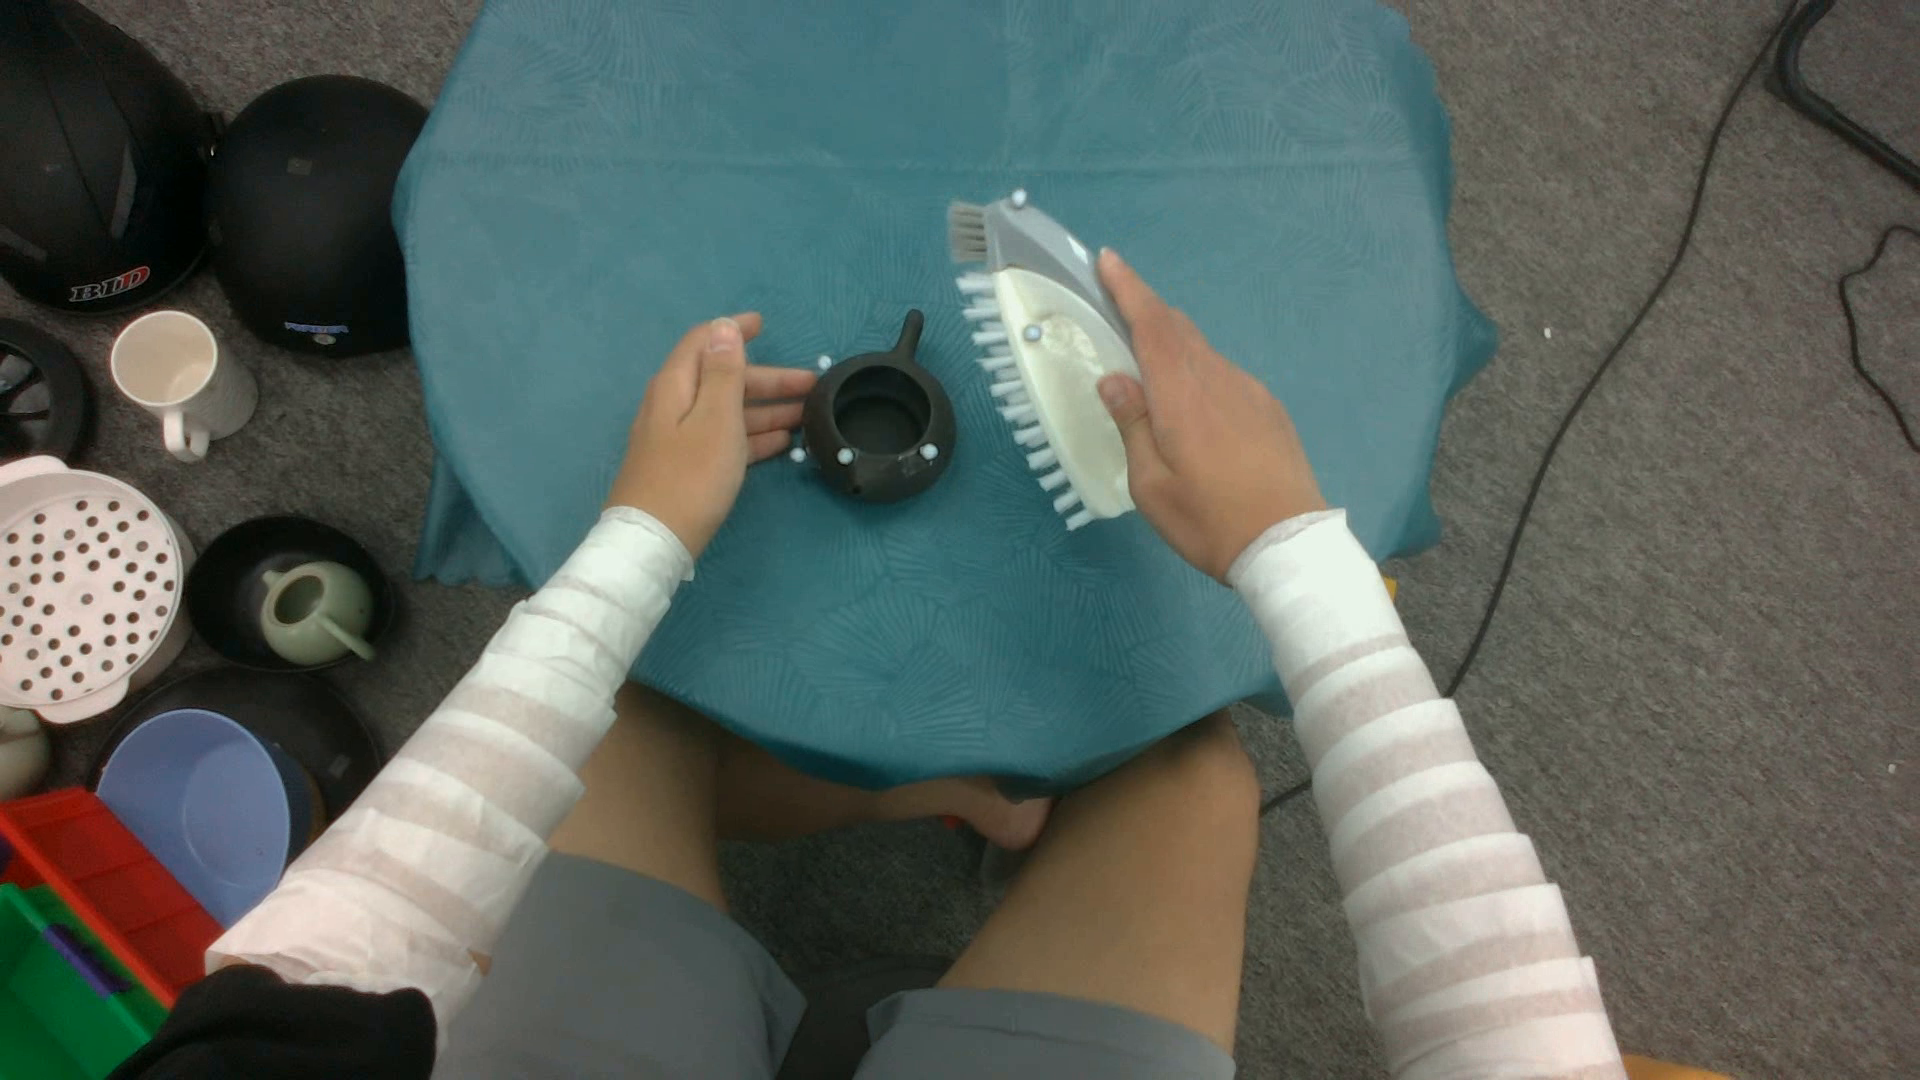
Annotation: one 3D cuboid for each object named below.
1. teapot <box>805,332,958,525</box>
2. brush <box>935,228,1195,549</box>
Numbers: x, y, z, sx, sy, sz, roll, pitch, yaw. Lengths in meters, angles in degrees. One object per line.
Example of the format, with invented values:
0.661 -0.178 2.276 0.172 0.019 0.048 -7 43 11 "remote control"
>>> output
-0.039 -0.061 0.746 0.083 0.053 0.114 17 75 -2 "teapot"
0.056 -0.084 0.690 0.062 0.094 0.175 -39 103 -37 "brush"
